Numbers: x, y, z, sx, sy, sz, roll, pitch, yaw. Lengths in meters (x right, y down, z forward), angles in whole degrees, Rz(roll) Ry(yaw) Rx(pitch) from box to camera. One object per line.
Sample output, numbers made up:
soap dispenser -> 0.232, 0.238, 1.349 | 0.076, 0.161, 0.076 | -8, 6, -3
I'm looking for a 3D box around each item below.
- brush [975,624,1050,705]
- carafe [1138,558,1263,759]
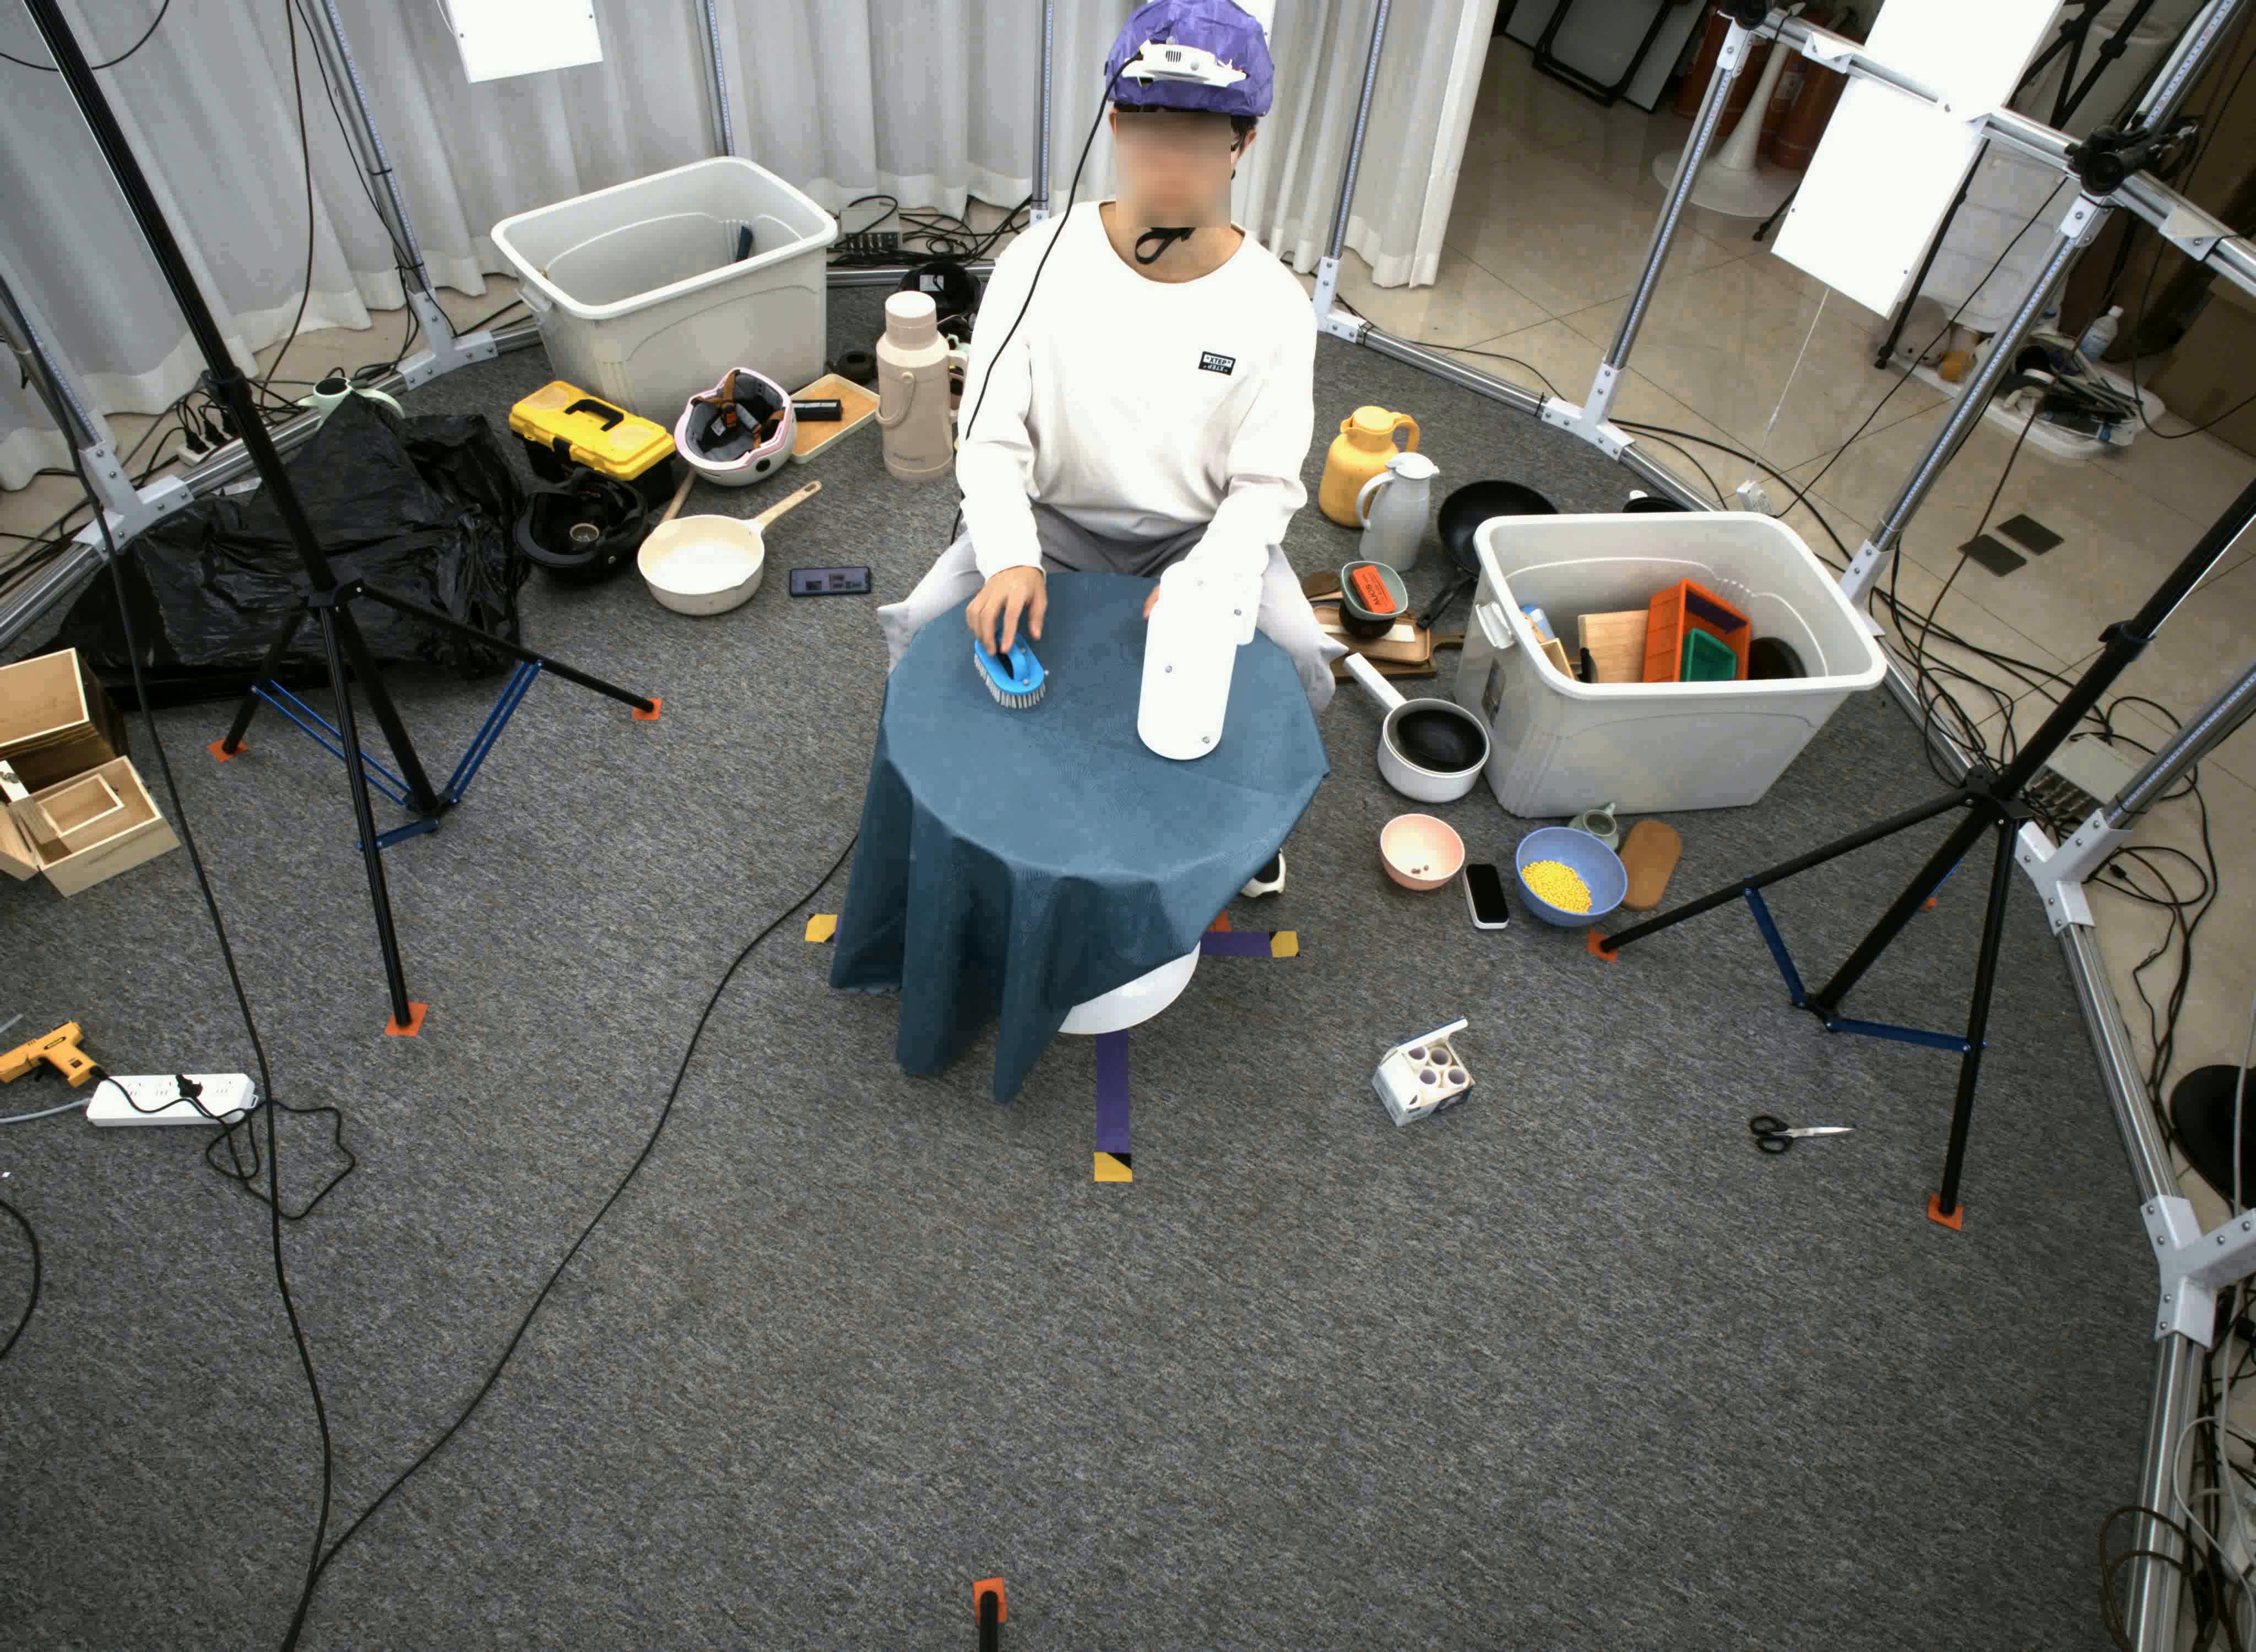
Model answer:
brush -> -0.166, -0.239, 1.817 | 0.084, 0.062, 0.145 | -20, 52, -14
carafe -> 0.093, -0.225, 1.695 | 0.174, 0.262, 0.126 | -30, 56, -28
